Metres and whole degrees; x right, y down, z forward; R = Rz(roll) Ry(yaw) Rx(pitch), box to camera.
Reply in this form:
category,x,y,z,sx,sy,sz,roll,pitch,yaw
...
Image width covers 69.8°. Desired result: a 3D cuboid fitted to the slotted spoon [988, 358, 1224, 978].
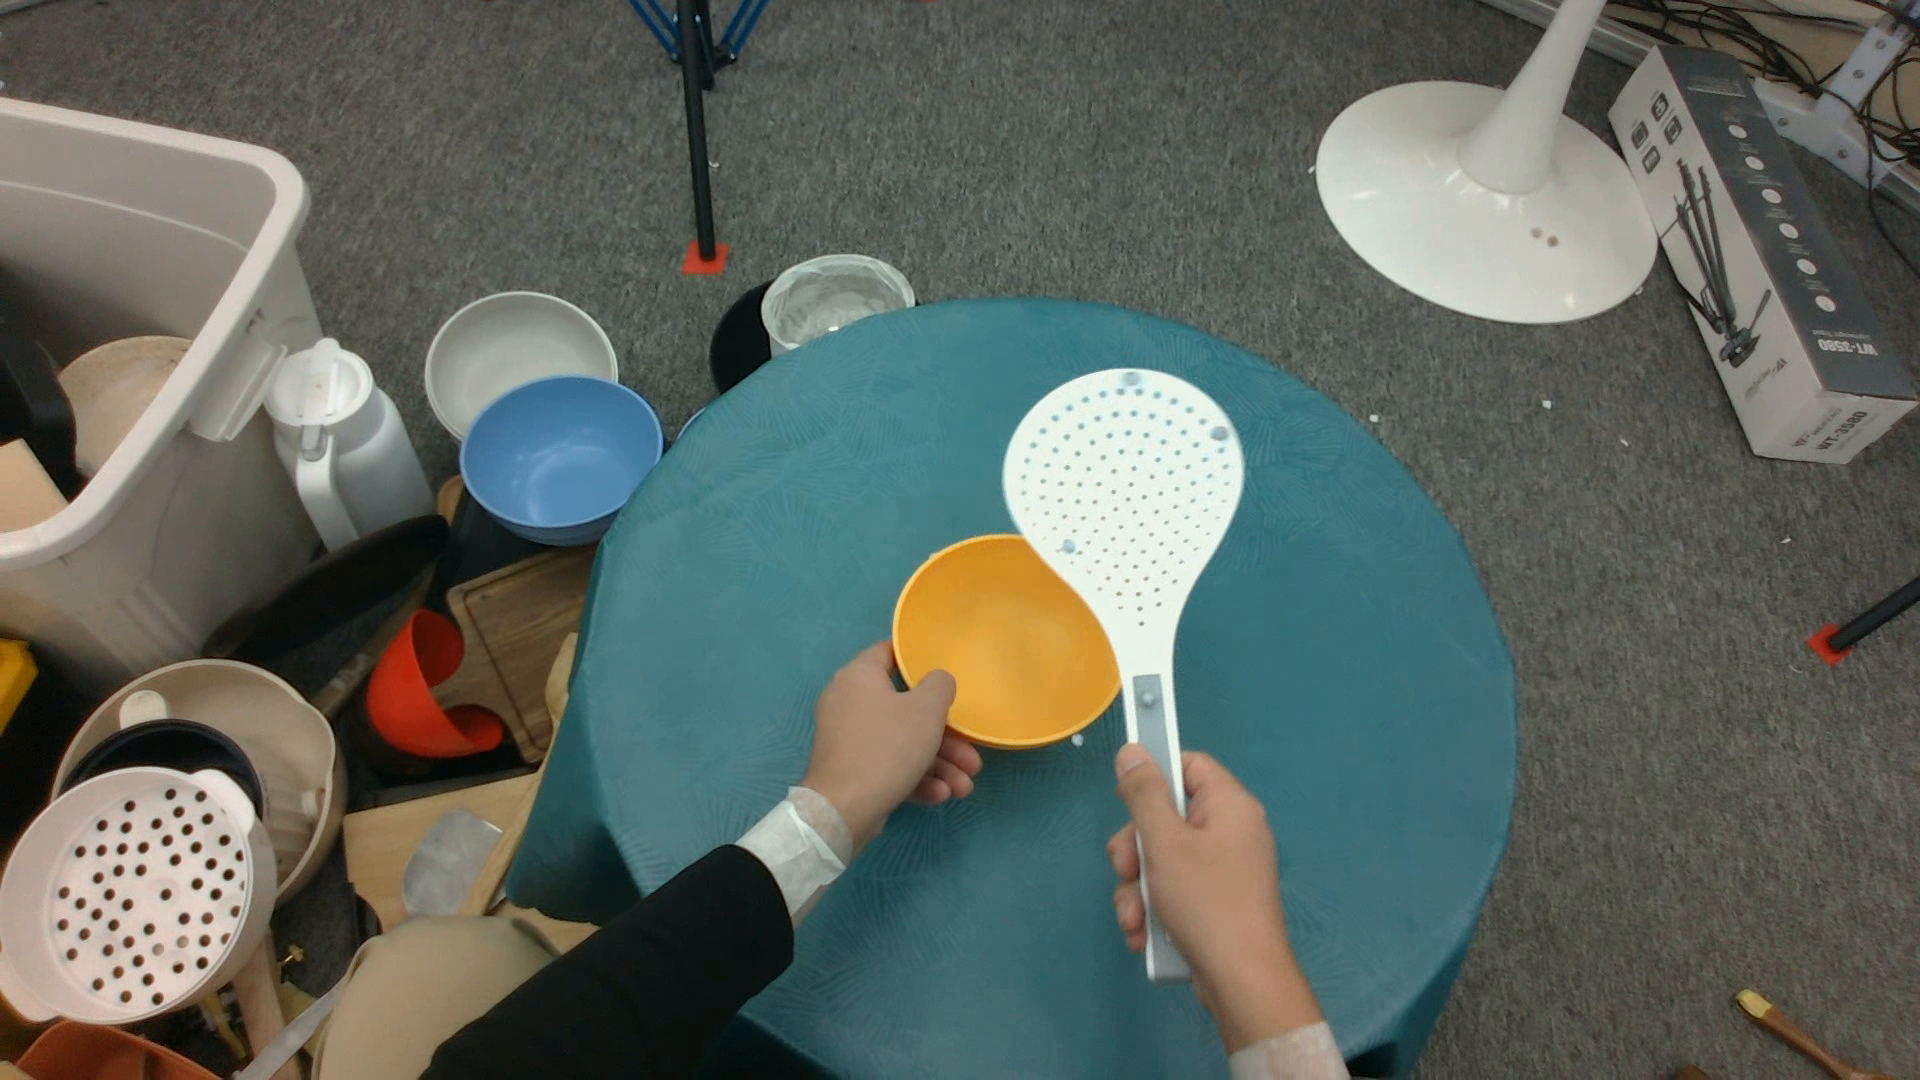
category,x,y,z,sx,sy,sz,roll,pitch,yaw
slotted spoon,0.089,0.056,0.749,0.136,0.045,0.351,-7,60,8

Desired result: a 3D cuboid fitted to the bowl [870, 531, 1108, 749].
category,x,y,z,sx,sy,sz,roll,pitch,yaw
bowl,0.016,0.070,0.851,0.145,0.060,0.146,2,59,-2
